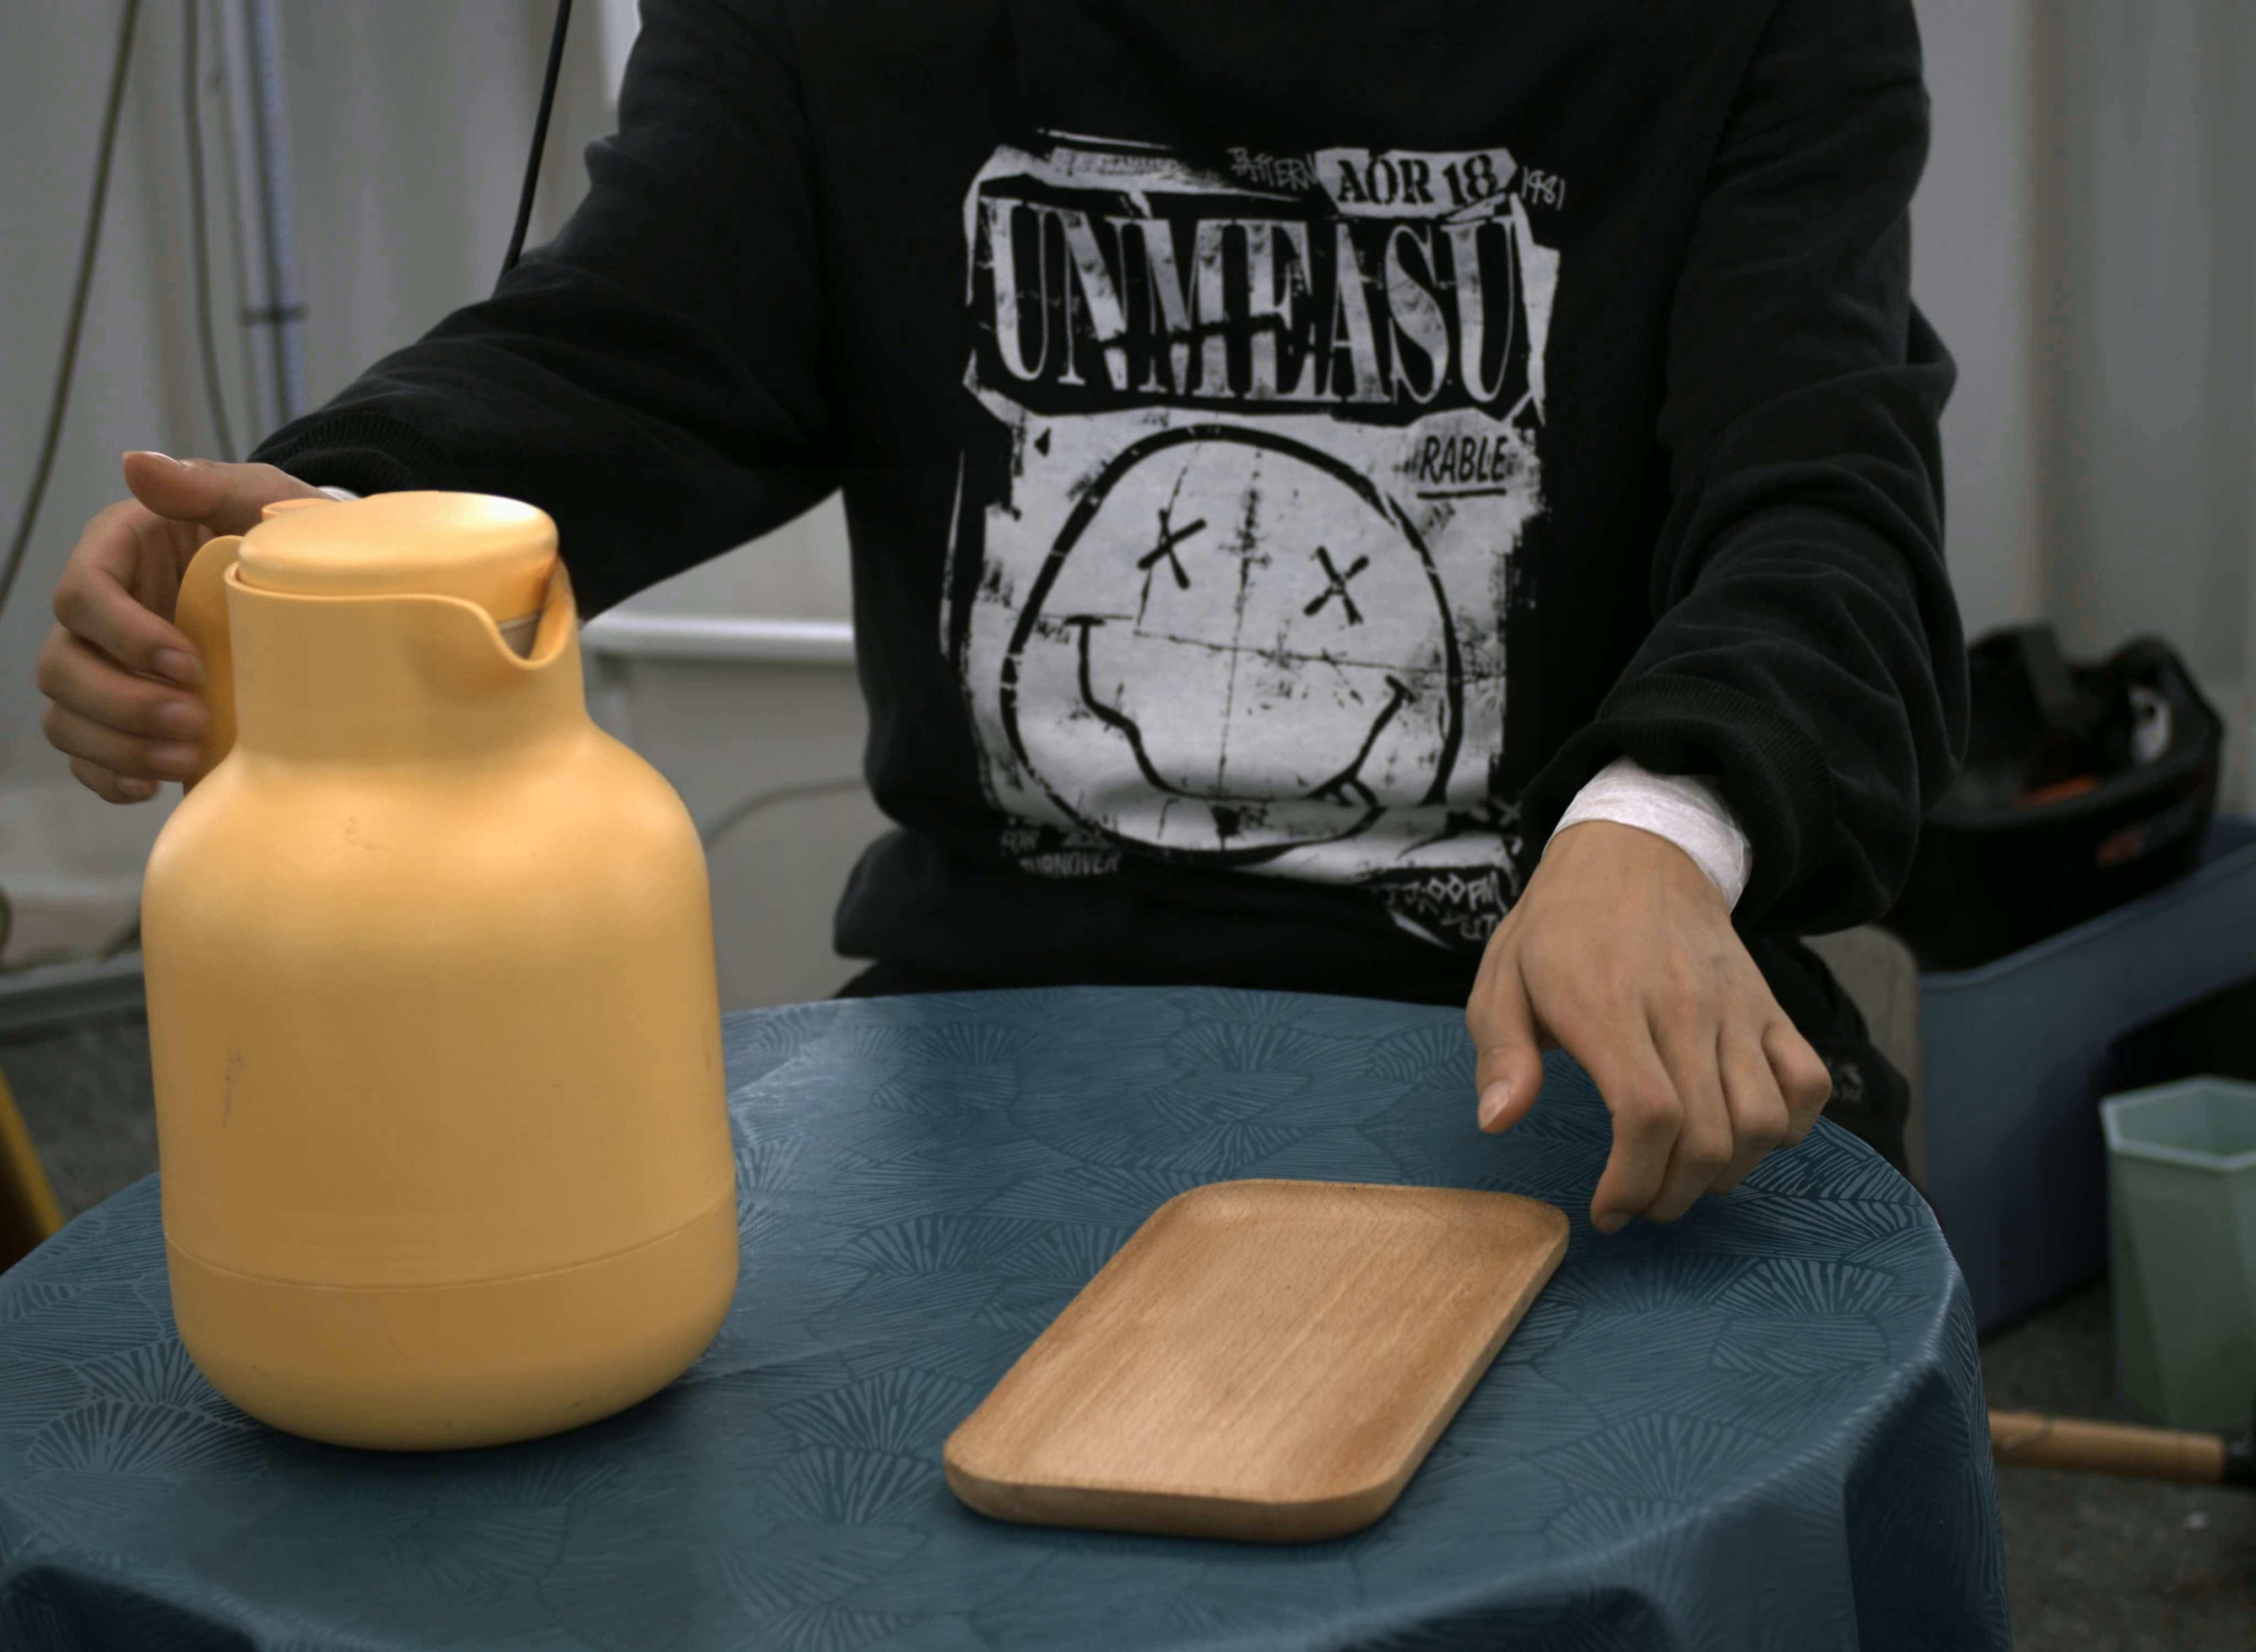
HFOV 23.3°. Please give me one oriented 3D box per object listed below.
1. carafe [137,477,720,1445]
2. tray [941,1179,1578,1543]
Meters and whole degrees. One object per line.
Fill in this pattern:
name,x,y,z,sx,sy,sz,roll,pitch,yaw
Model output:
carafe,-0.208,0.030,1.564,0.163,0.259,0.204,-9,17,-33
tray,0.042,0.148,1.547,0.130,0.023,0.251,5,16,18
